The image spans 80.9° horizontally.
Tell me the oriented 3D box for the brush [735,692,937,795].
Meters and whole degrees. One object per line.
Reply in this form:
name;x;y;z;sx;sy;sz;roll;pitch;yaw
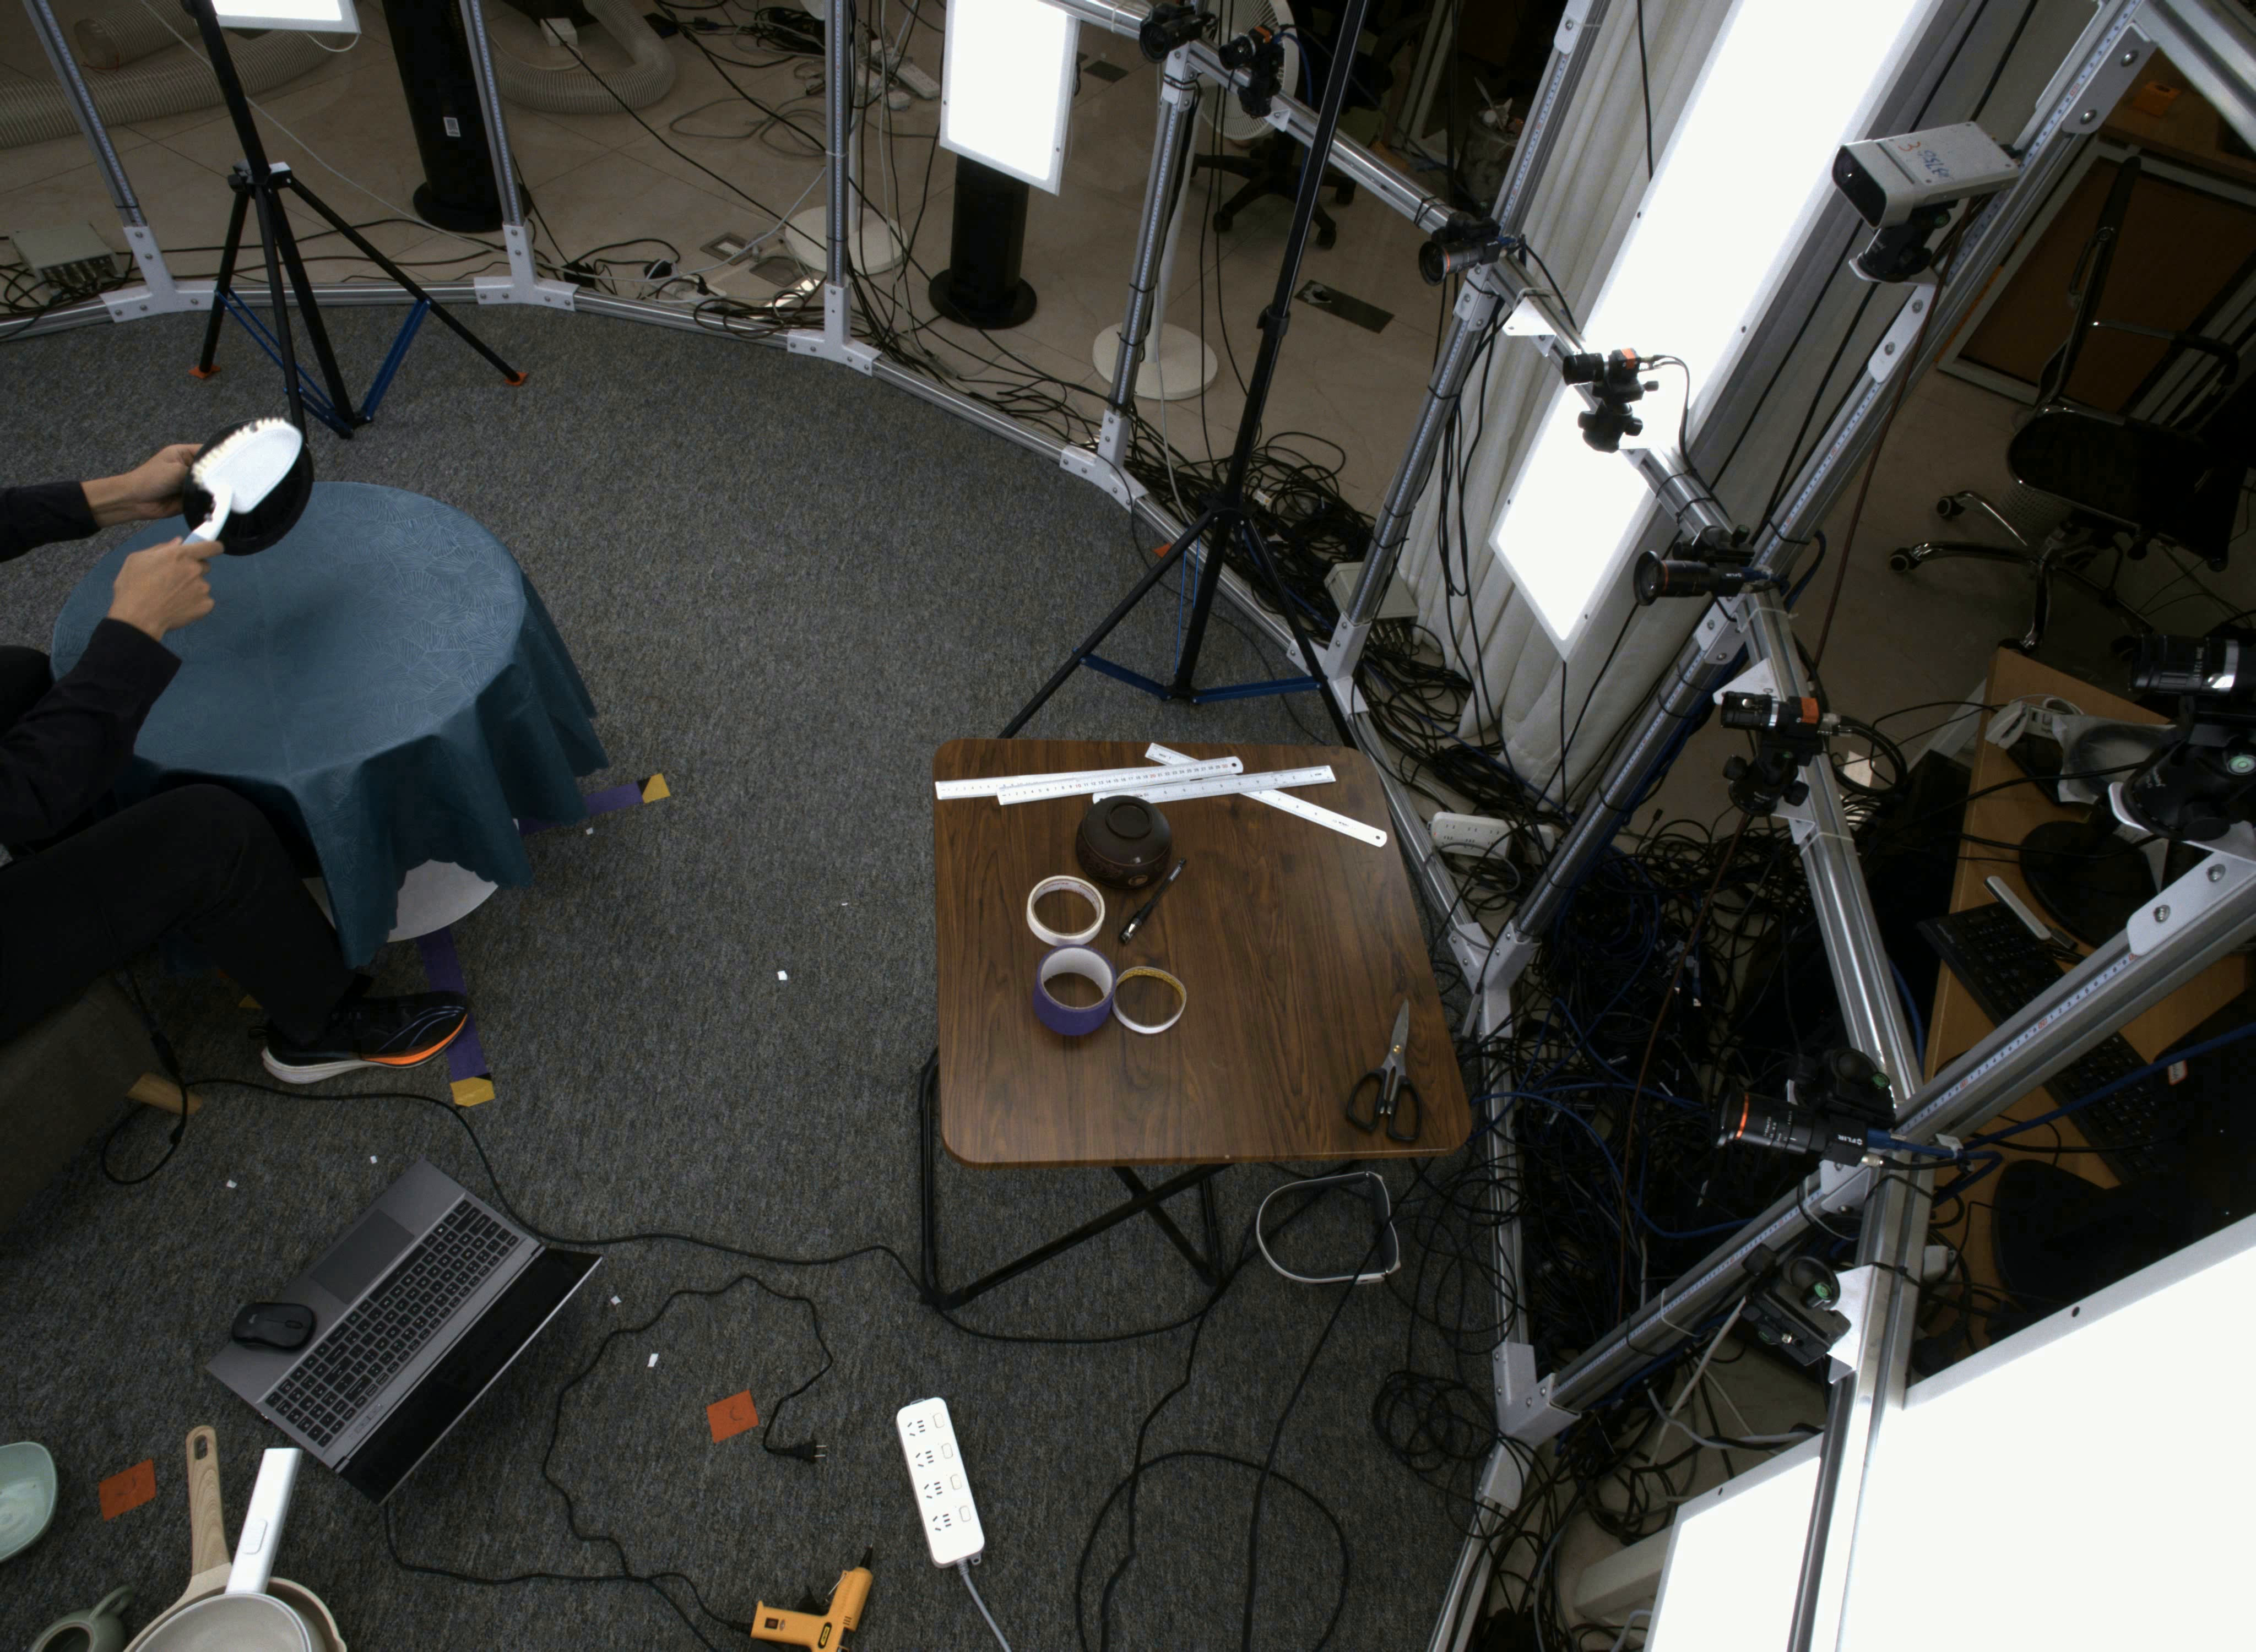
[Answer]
brush;-0.431;-0.123;1.903;0.326;0.086;0.081;-27;67;-25

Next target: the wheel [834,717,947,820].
wheel;-0.381;-0.109;2.044;0.196;0.189;0.076;22;12;-46
